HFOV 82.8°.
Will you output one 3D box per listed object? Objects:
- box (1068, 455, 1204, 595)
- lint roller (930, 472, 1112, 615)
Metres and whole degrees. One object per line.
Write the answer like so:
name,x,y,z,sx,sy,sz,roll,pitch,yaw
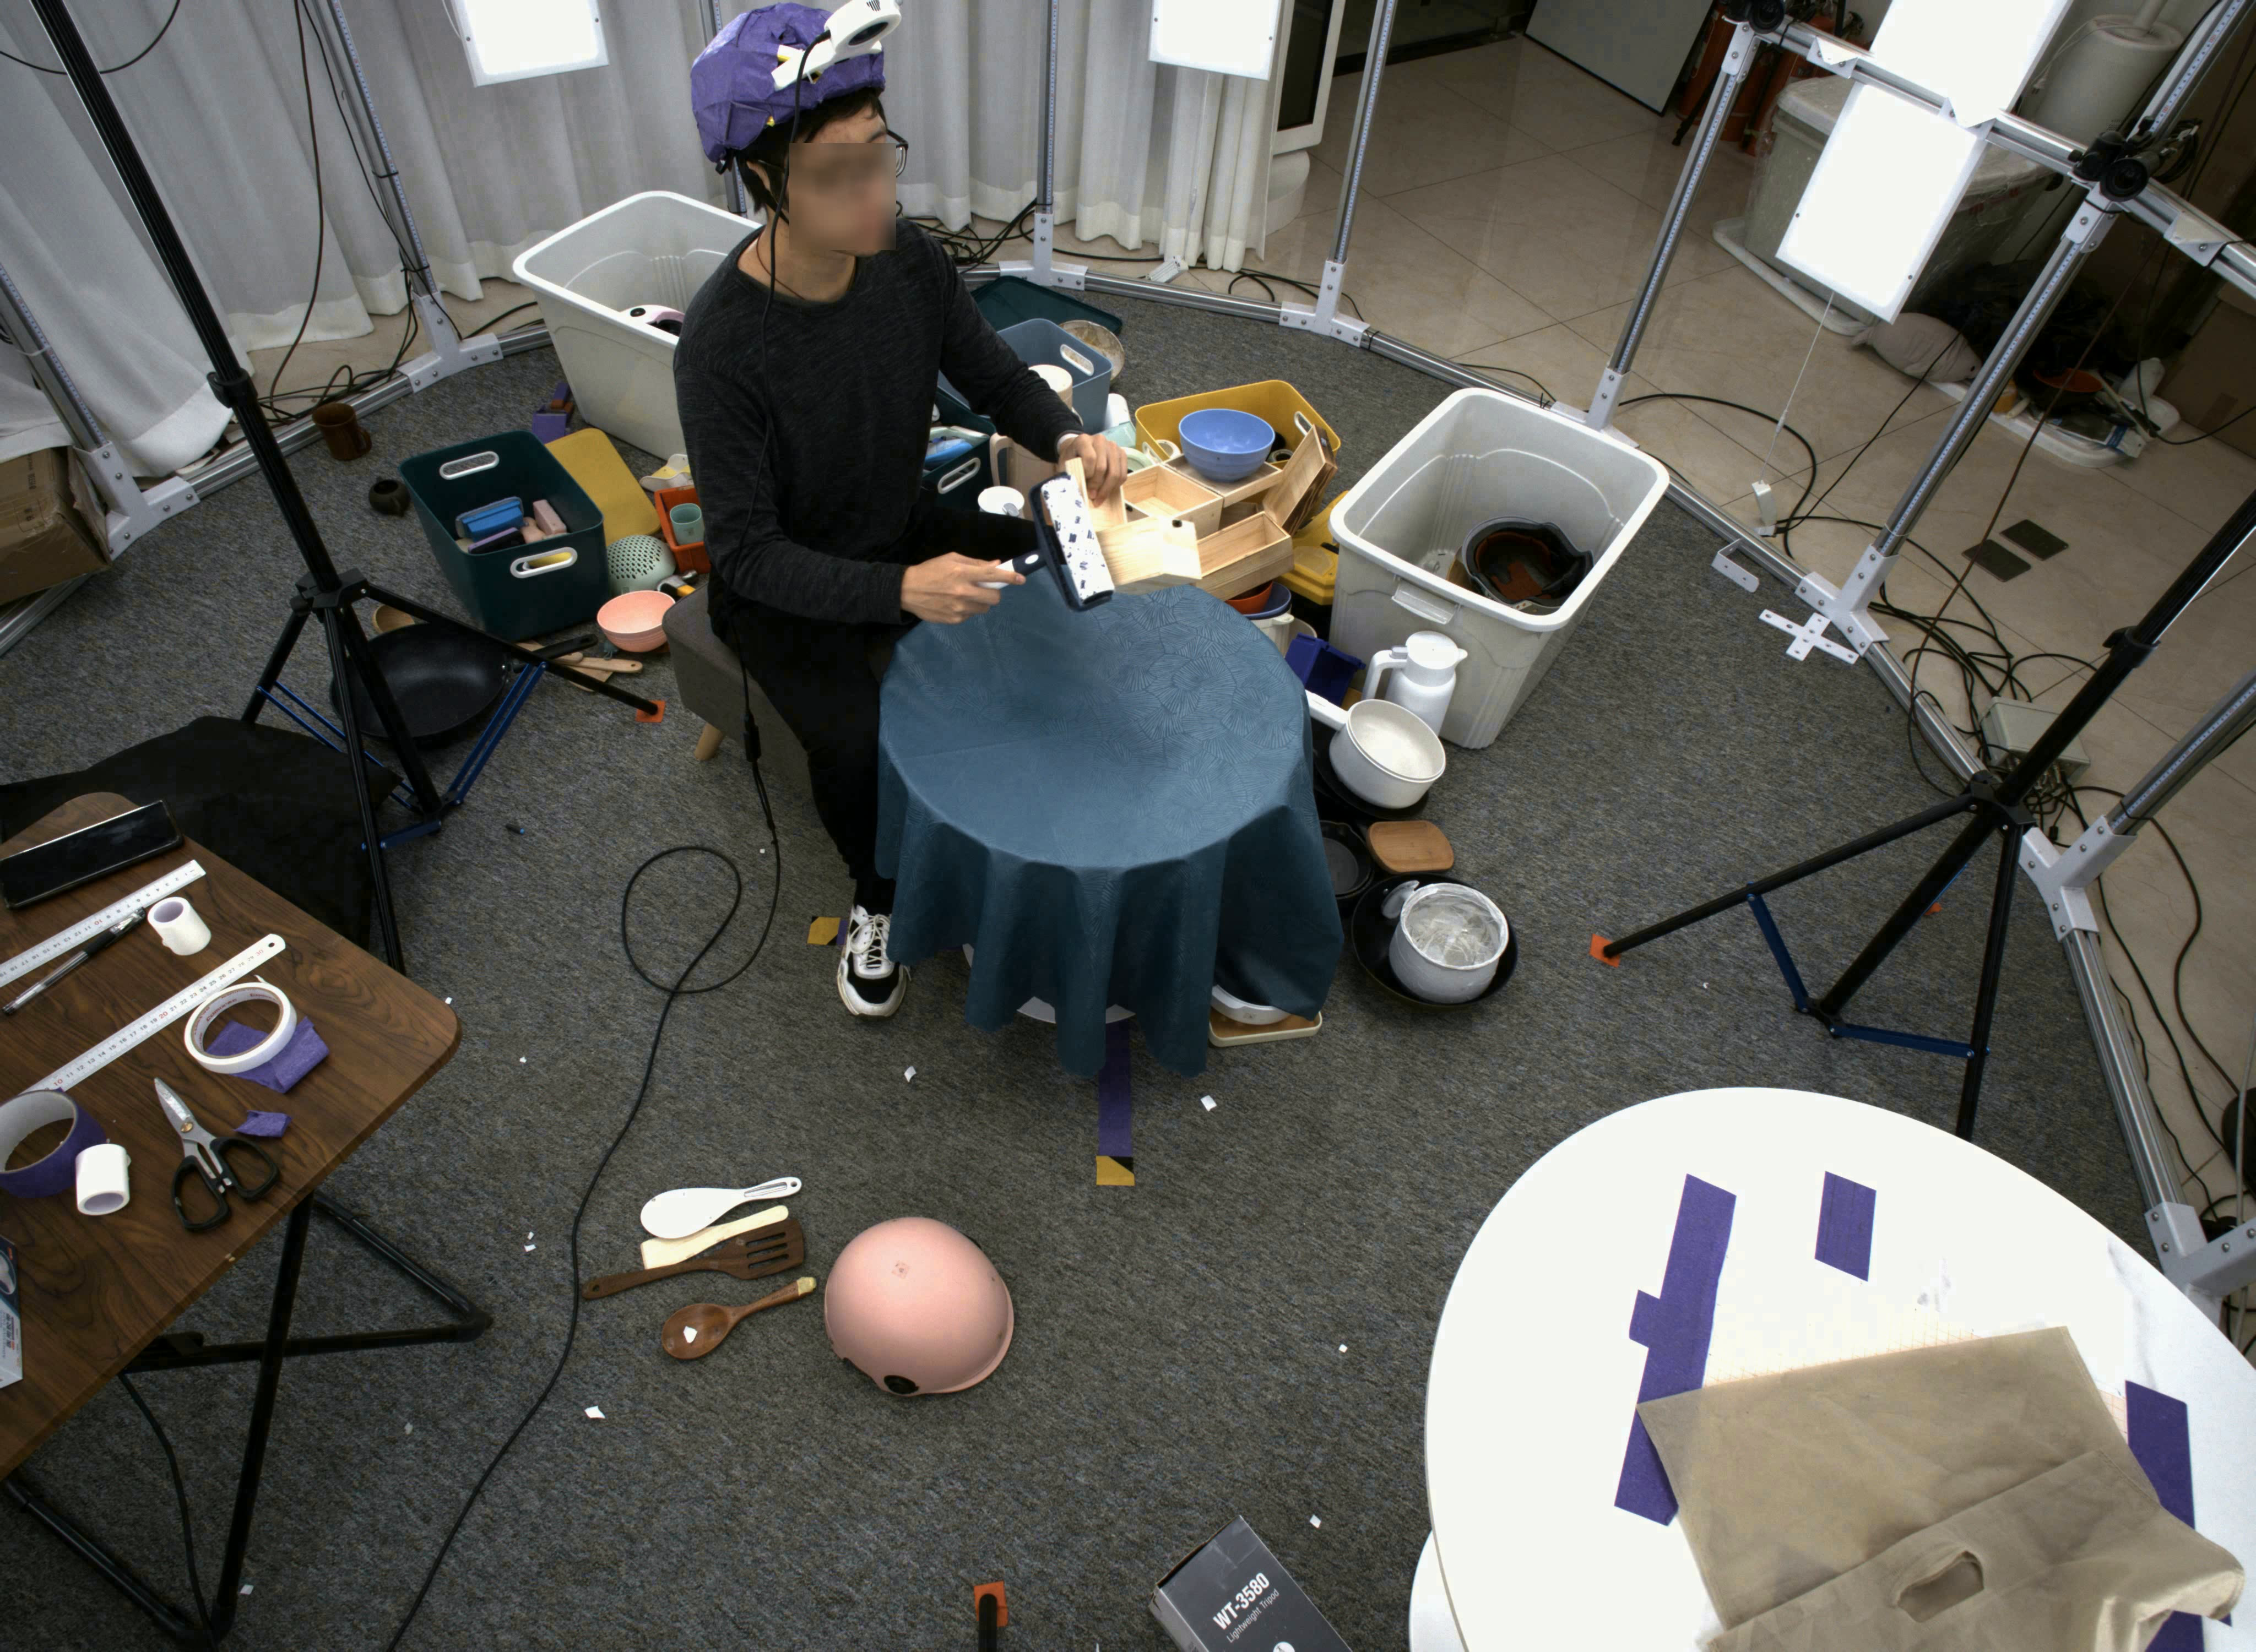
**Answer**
box,0.013,-0.409,1.710,0.134,0.185,0.102,-10,-2,32
lint roller,-0.156,-0.331,1.685,0.246,0.050,0.177,-21,84,18
